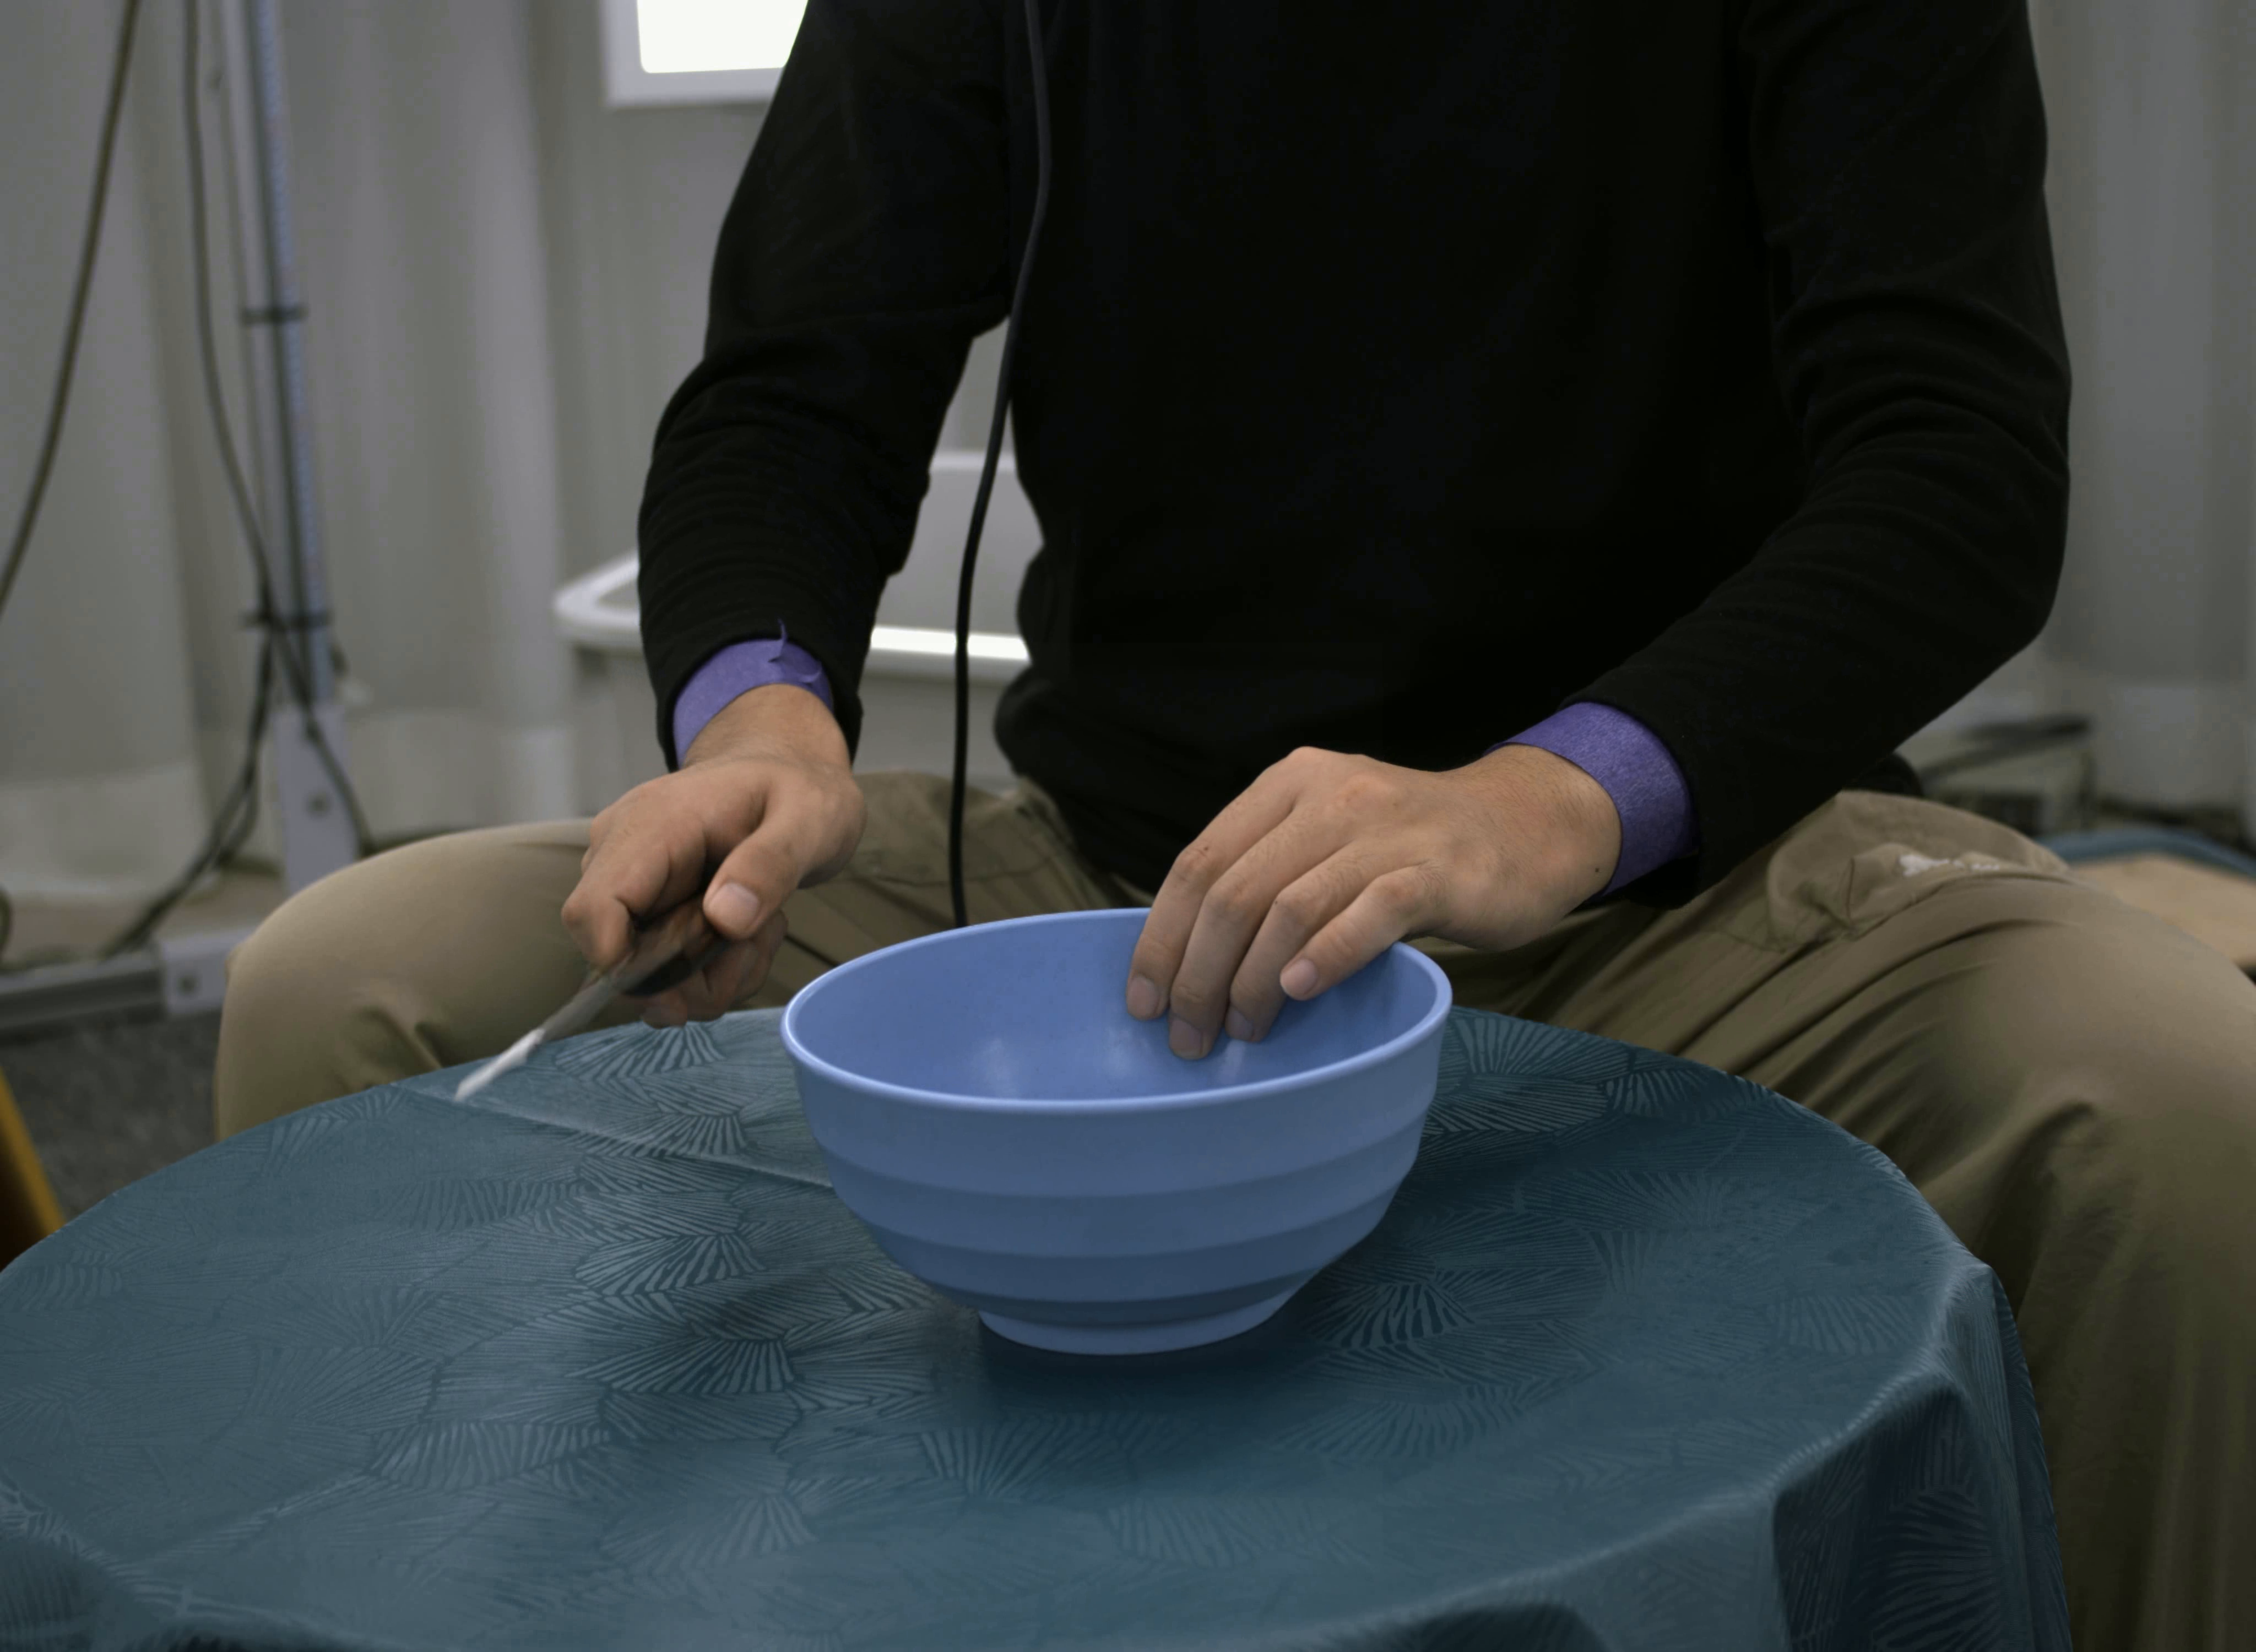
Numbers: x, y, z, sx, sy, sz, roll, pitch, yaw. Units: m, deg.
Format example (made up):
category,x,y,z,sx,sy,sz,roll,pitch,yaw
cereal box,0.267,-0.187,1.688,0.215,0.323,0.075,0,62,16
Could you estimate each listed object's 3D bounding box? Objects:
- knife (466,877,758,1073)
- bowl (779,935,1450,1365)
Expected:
category,x,y,z,sx,sy,sz,roll,pitch,yaw
knife,-0.153,0.046,1.648,0.050,0.020,0.289,-32,1,12
bowl,-0.002,0.099,1.604,0.196,0.095,0.197,-2,12,0
